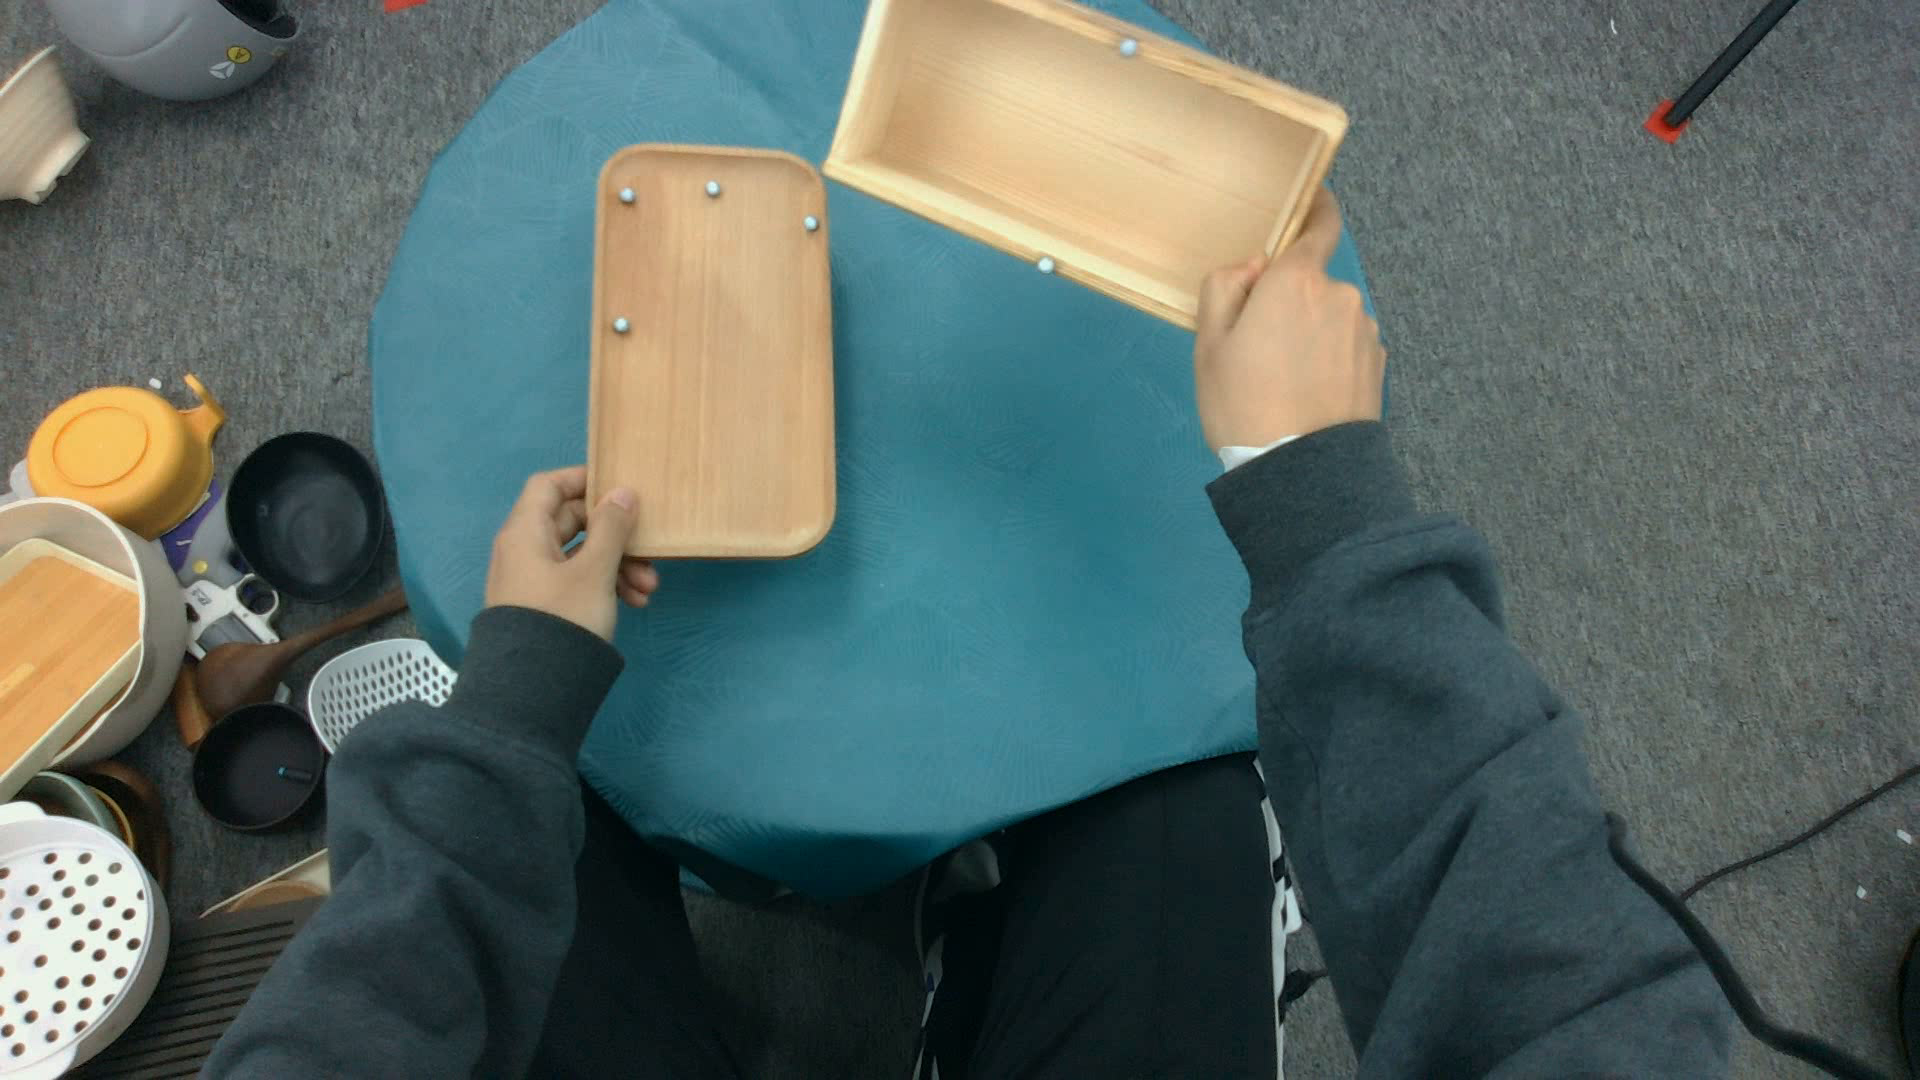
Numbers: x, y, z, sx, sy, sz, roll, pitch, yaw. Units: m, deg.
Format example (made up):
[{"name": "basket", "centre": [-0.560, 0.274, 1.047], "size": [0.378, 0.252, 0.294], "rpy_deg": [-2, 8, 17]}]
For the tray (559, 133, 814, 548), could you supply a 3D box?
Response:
[{"name": "tray", "centre": [-0.149, -0.112, 0.748], "size": [0.130, 0.023, 0.251], "rpy_deg": [-1, 69, -9]}]

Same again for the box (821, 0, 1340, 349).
[{"name": "box", "centre": [0.057, -0.190, 0.655], "size": [0.211, 0.080, 0.107], "rpy_deg": [27, 107, 0]}]
